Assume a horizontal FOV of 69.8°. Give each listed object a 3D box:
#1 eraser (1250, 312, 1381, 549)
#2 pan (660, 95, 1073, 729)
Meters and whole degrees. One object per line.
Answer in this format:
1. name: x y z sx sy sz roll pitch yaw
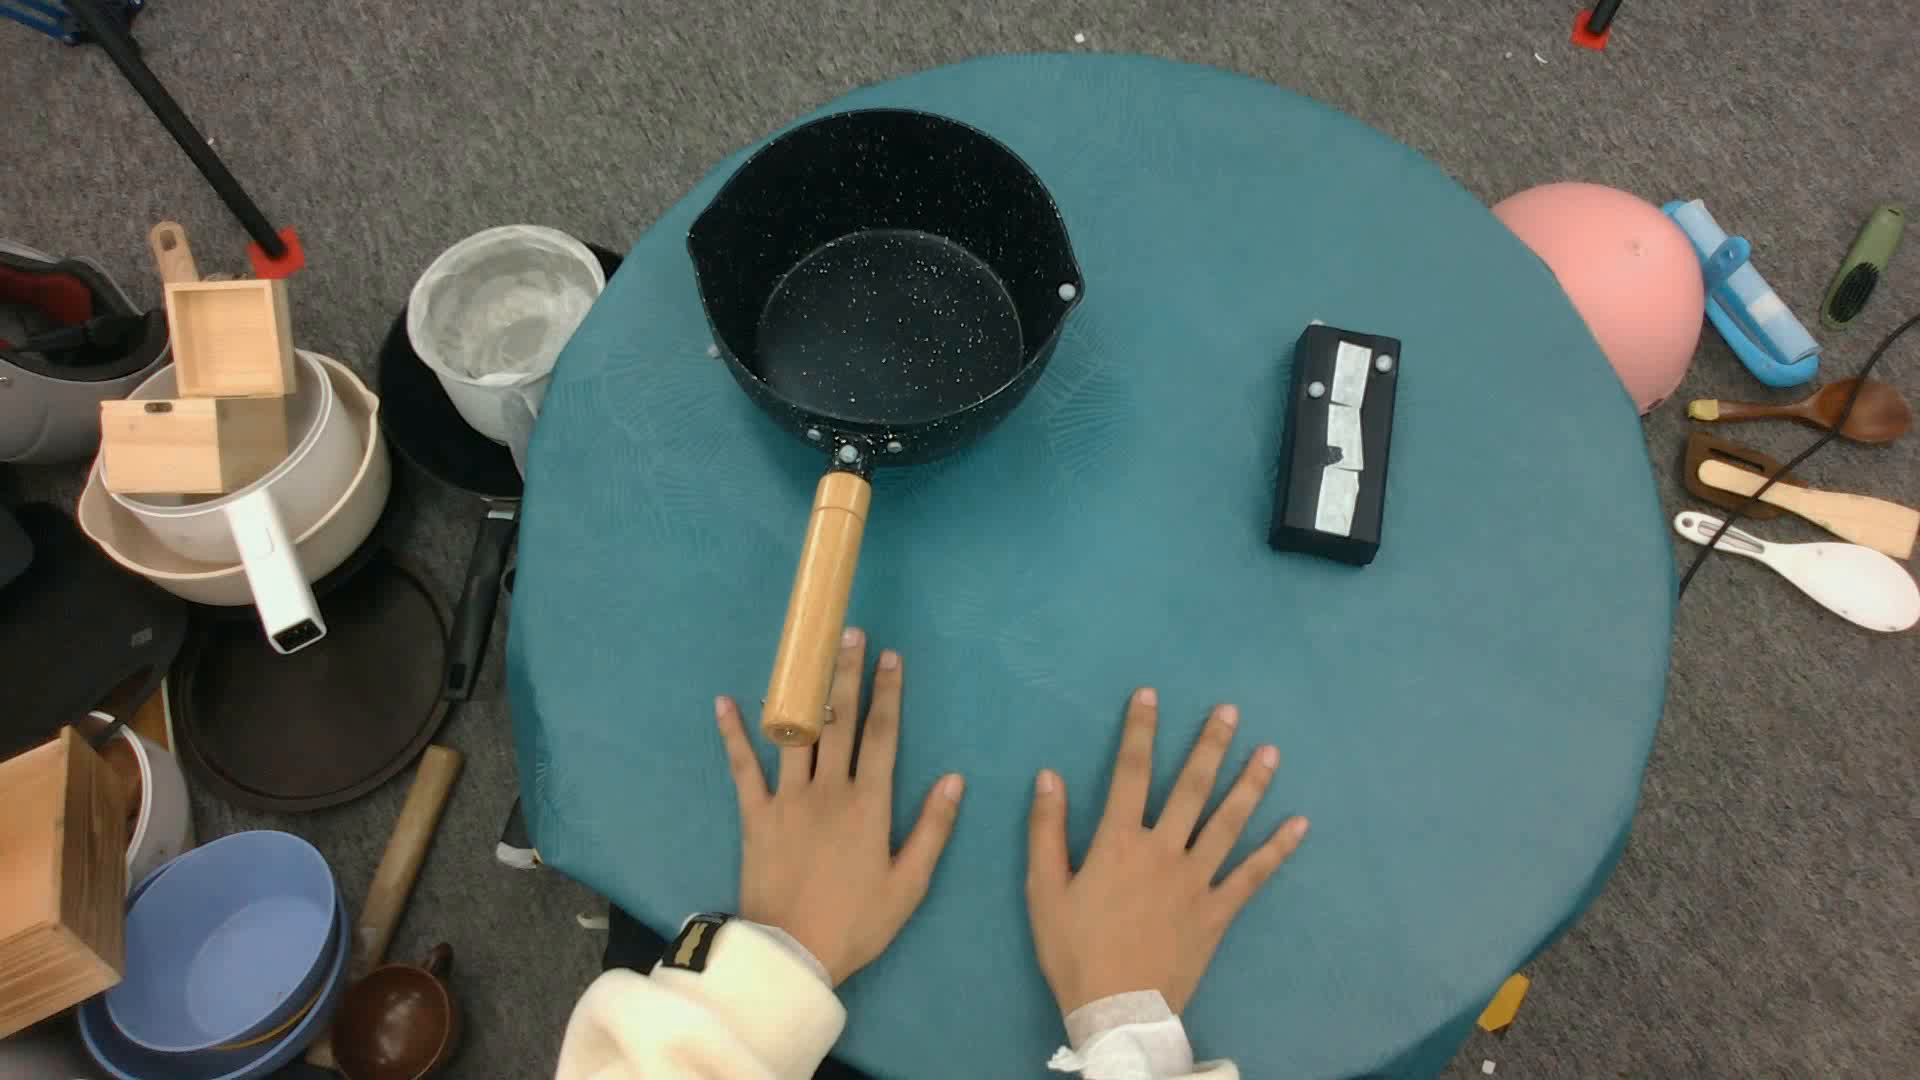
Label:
1. eraser: 0.187 -0.060 0.727 0.053 0.030 0.126 12 69 3
2. pan: -0.056 -0.061 0.676 0.207 0.108 0.344 7 66 0
